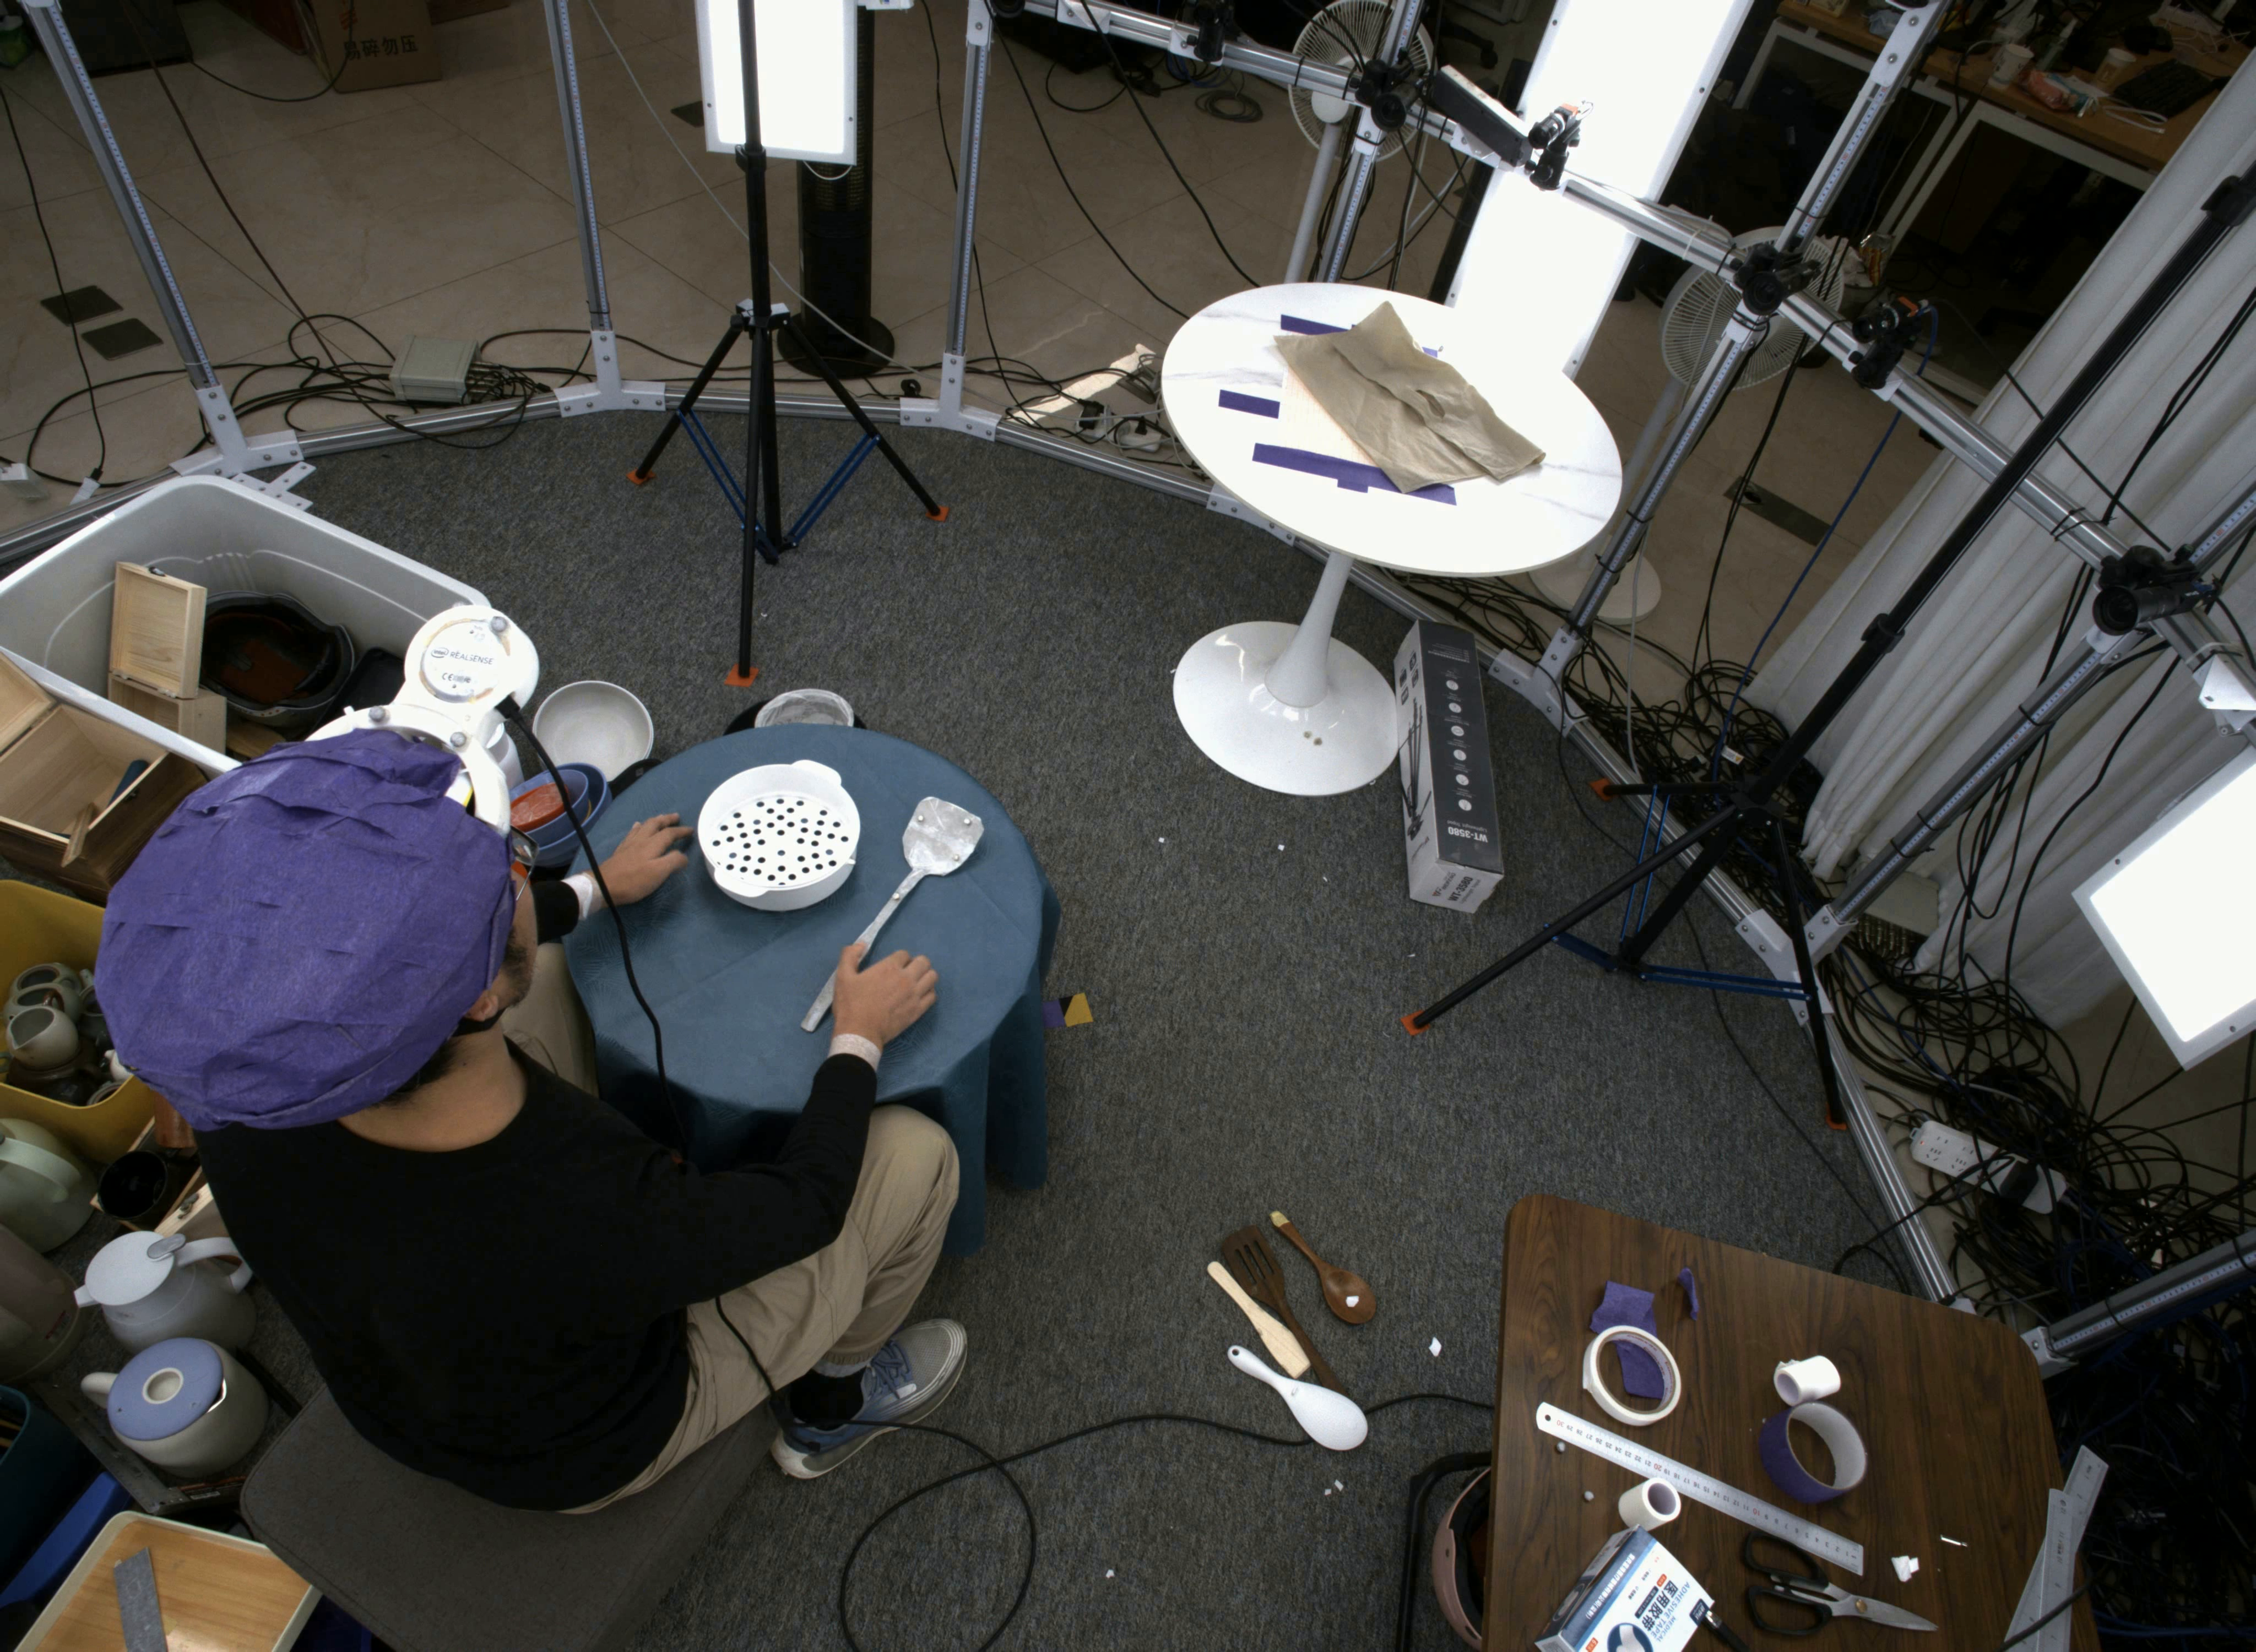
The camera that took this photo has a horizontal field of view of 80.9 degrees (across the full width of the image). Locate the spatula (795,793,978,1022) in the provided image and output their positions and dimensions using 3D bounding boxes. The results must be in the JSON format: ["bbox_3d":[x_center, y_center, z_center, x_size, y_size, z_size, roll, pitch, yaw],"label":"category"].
[{"bbox_3d":[-0.312,0.102,1.648,0.097,0.045,0.362,28,52,4],"label":"spatula"}]

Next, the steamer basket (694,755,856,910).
[{"bbox_3d":[-0.449,0.012,1.658,0.199,0.070,0.228,22,53,4],"label":"steamer basket"}]
